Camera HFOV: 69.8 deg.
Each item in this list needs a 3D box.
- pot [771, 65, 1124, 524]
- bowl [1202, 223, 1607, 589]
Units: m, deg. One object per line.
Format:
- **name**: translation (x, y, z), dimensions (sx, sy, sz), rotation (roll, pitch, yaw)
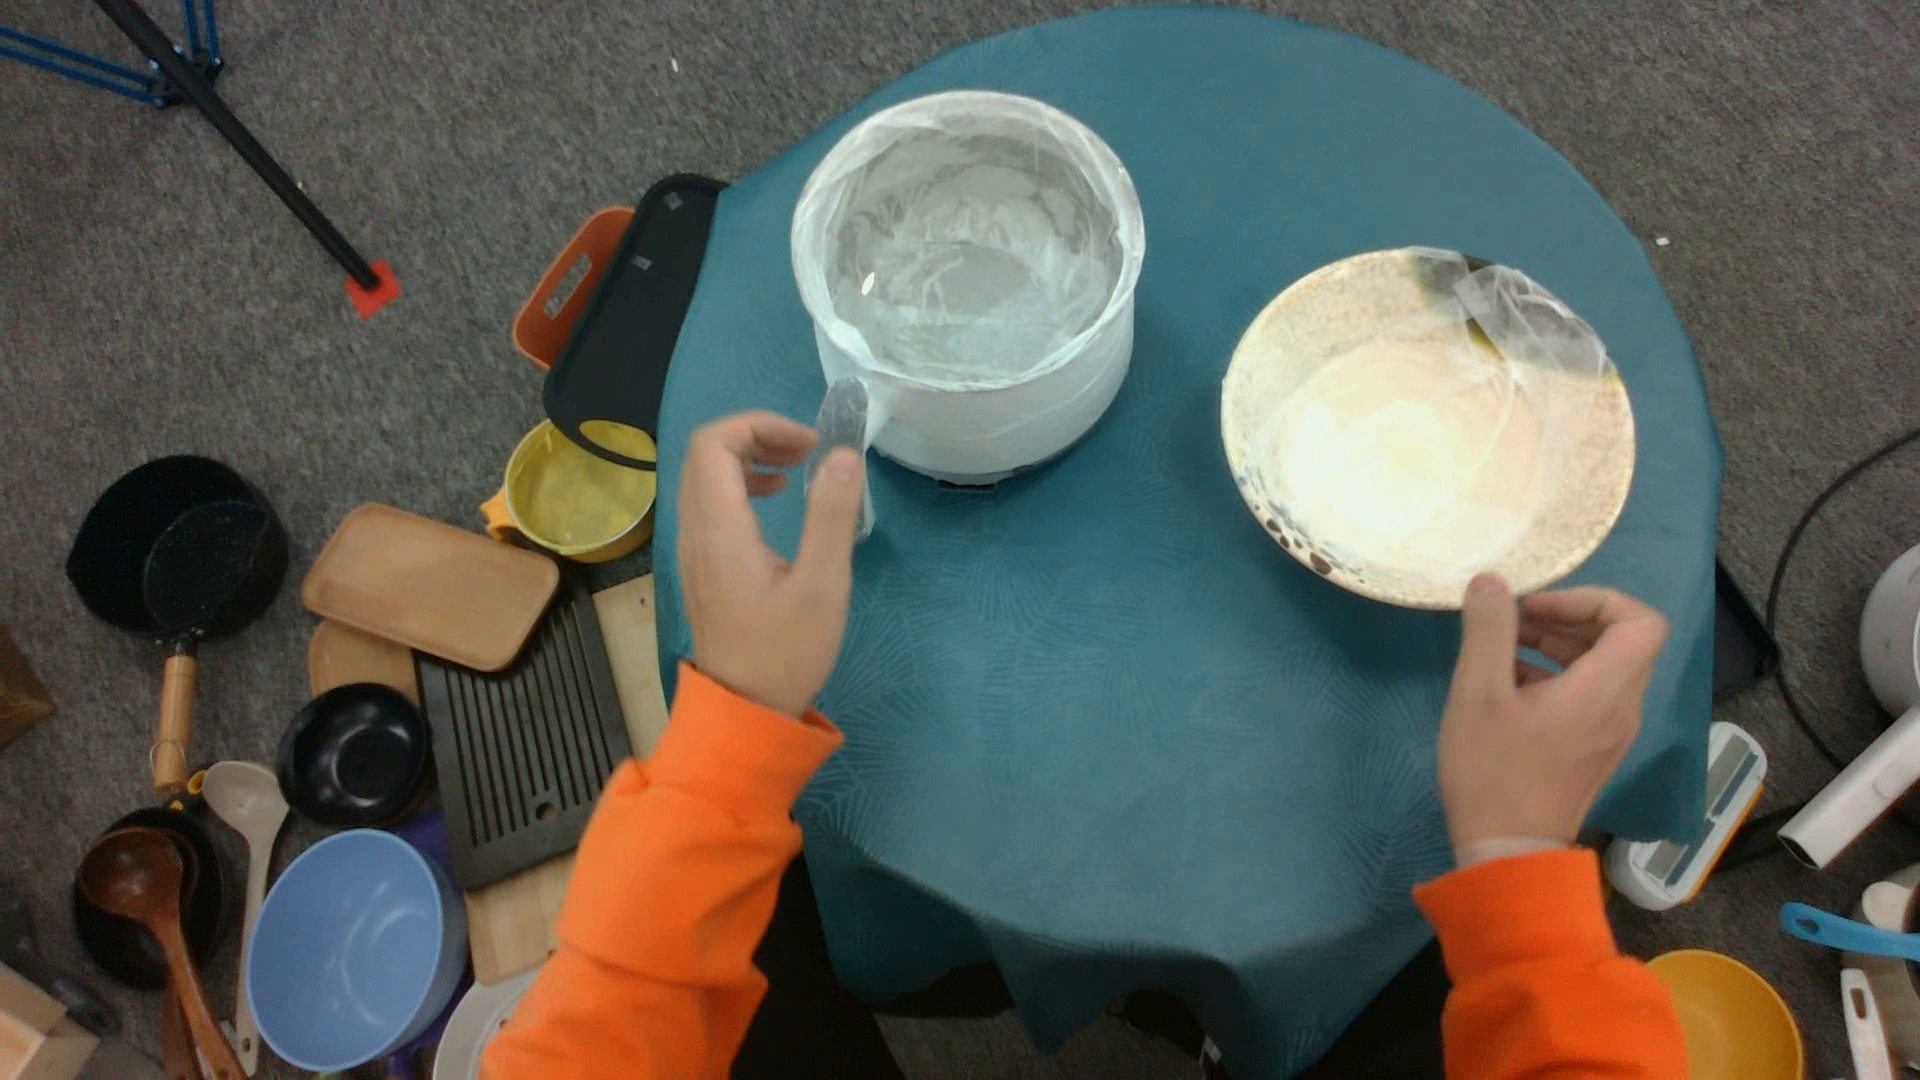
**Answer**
- **pot**: translation (-0.018, -0.120, 0.736), dimensions (0.179, 0.136, 0.234), rotation (29, 73, 13)
- **bowl**: translation (0.228, -0.062, 0.738), dimensions (0.204, 0.078, 0.204), rotation (-1, 72, 2)
